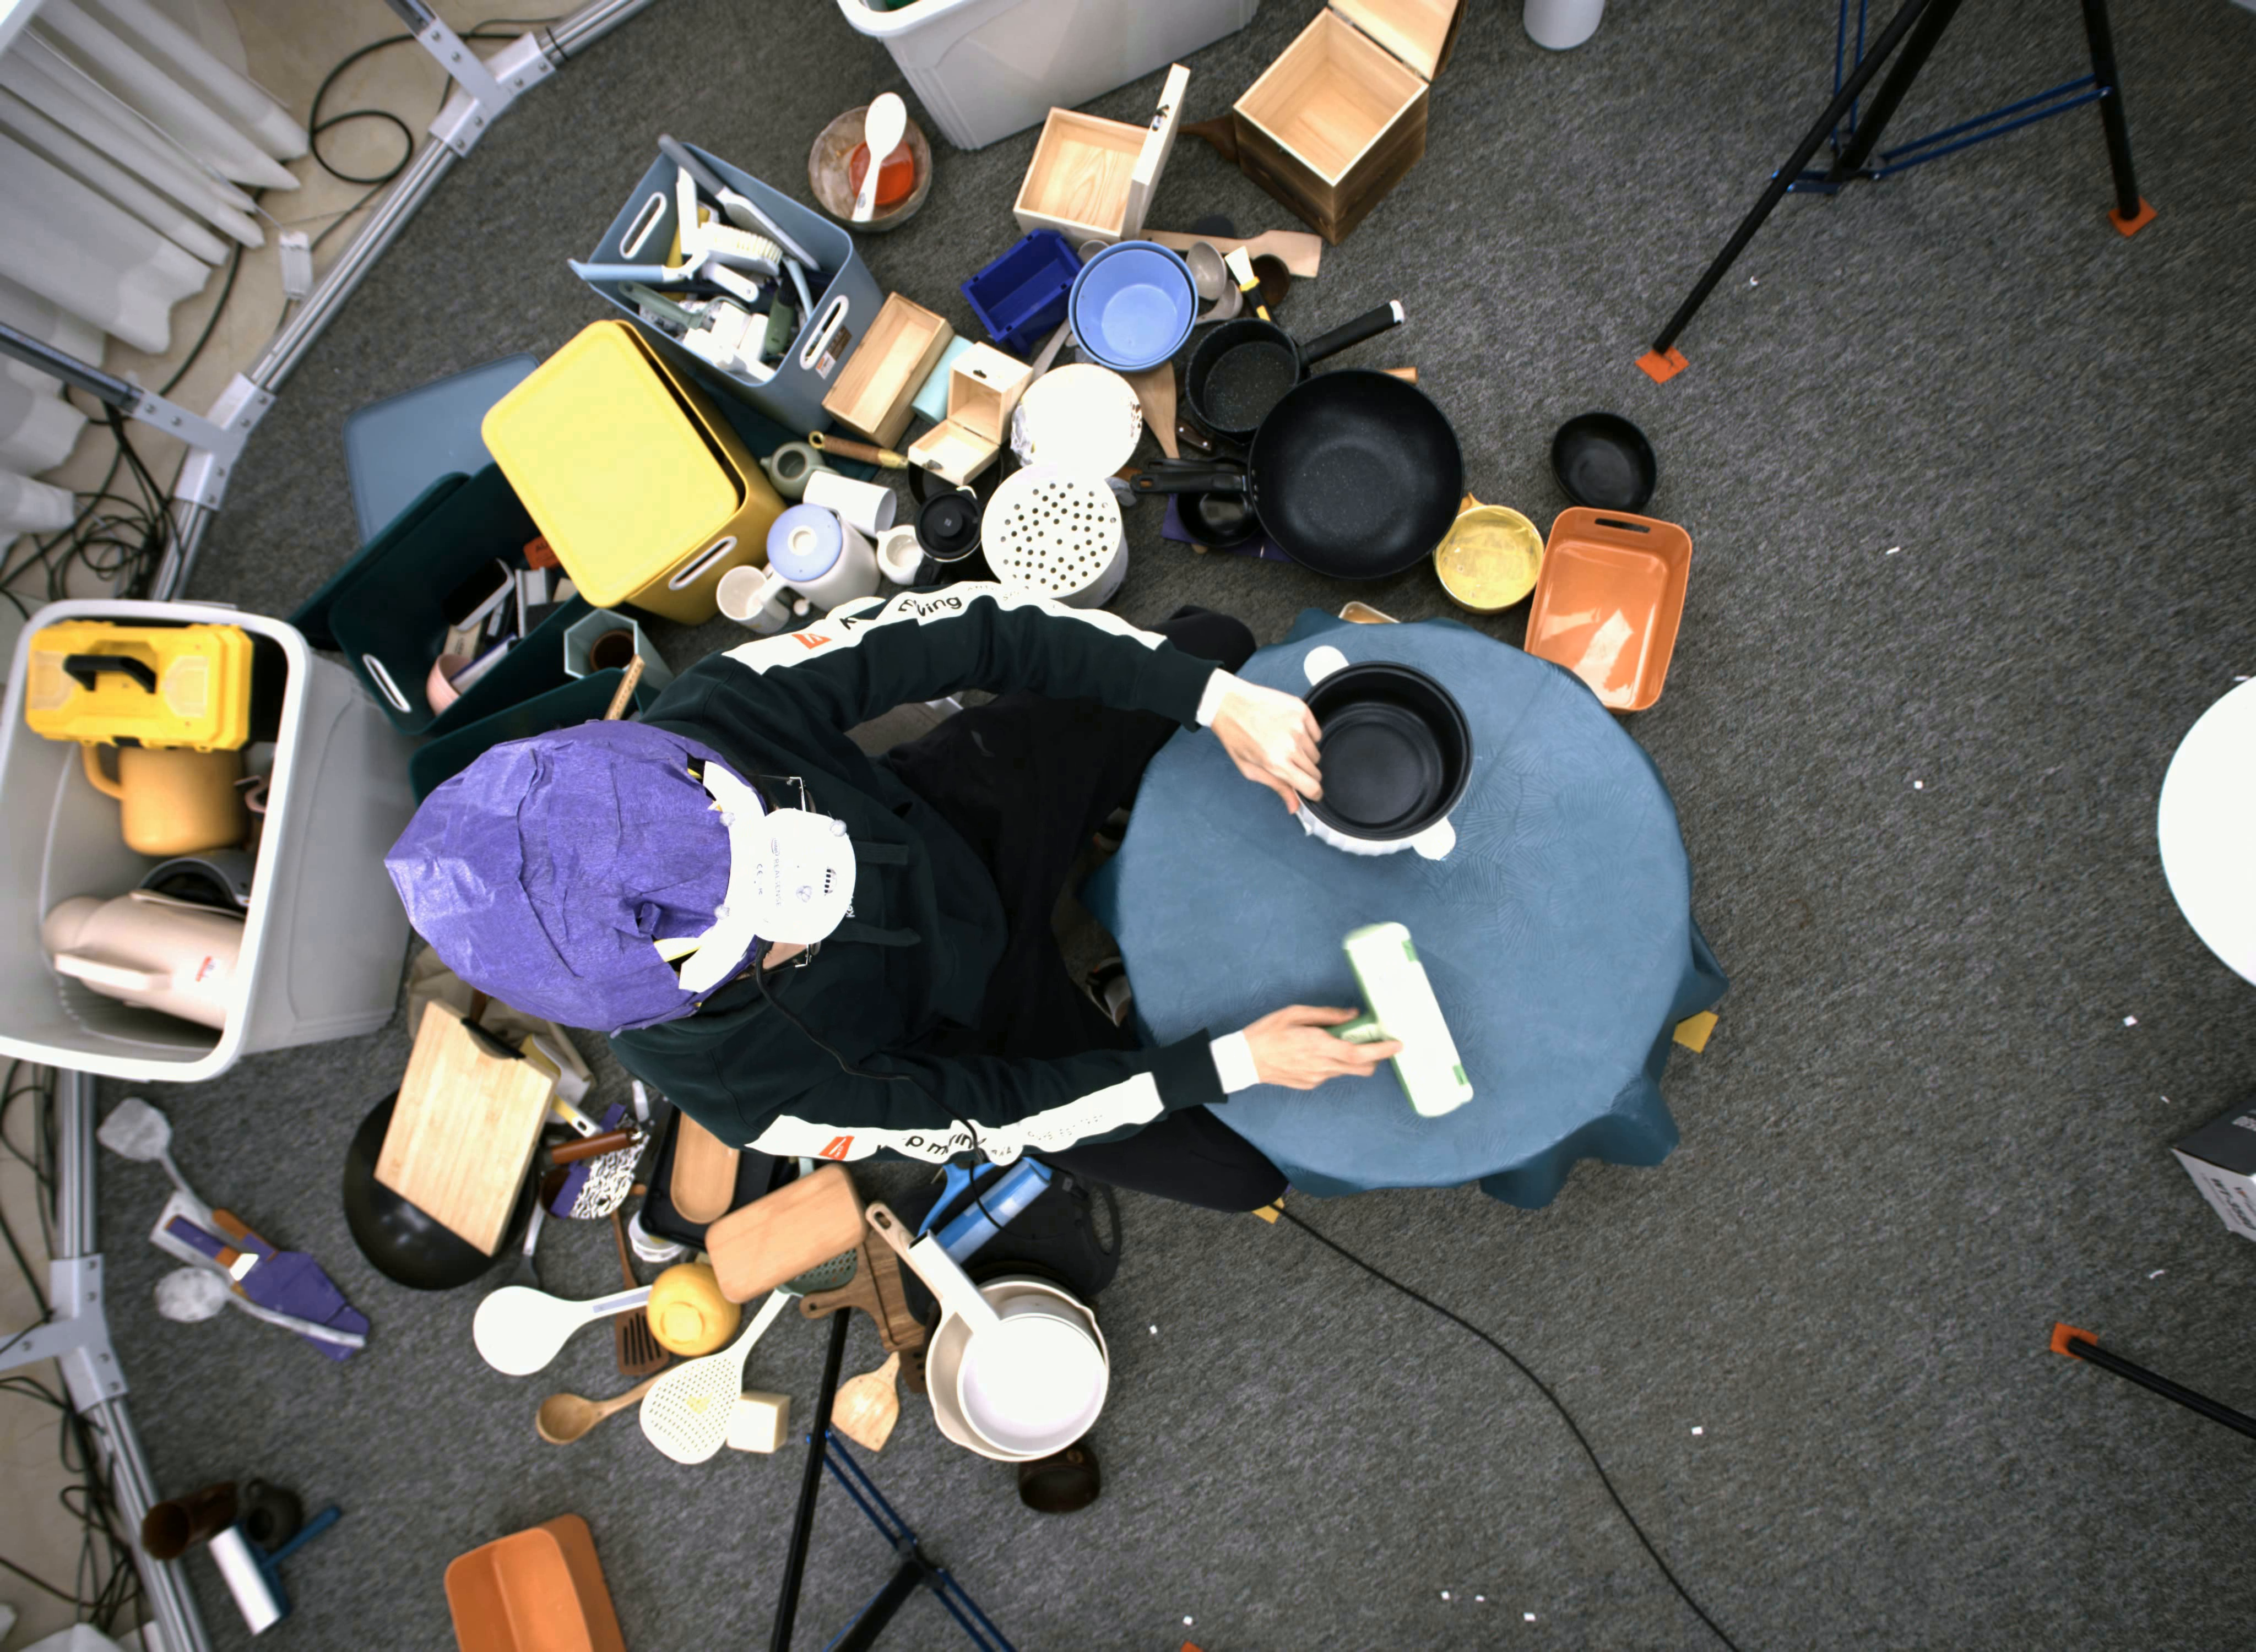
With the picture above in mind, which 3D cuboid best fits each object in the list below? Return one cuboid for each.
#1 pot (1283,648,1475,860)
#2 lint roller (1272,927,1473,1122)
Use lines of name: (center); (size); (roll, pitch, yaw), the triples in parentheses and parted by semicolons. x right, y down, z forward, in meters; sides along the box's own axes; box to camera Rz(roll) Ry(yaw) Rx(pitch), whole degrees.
pot: (0.254, -0.066, 1.391); (0.191, 0.143, 0.239); (-31, 81, 5)
lint roller: (0.228, 0.216, 1.386); (0.185, 0.081, 0.199); (-20, 97, 14)
